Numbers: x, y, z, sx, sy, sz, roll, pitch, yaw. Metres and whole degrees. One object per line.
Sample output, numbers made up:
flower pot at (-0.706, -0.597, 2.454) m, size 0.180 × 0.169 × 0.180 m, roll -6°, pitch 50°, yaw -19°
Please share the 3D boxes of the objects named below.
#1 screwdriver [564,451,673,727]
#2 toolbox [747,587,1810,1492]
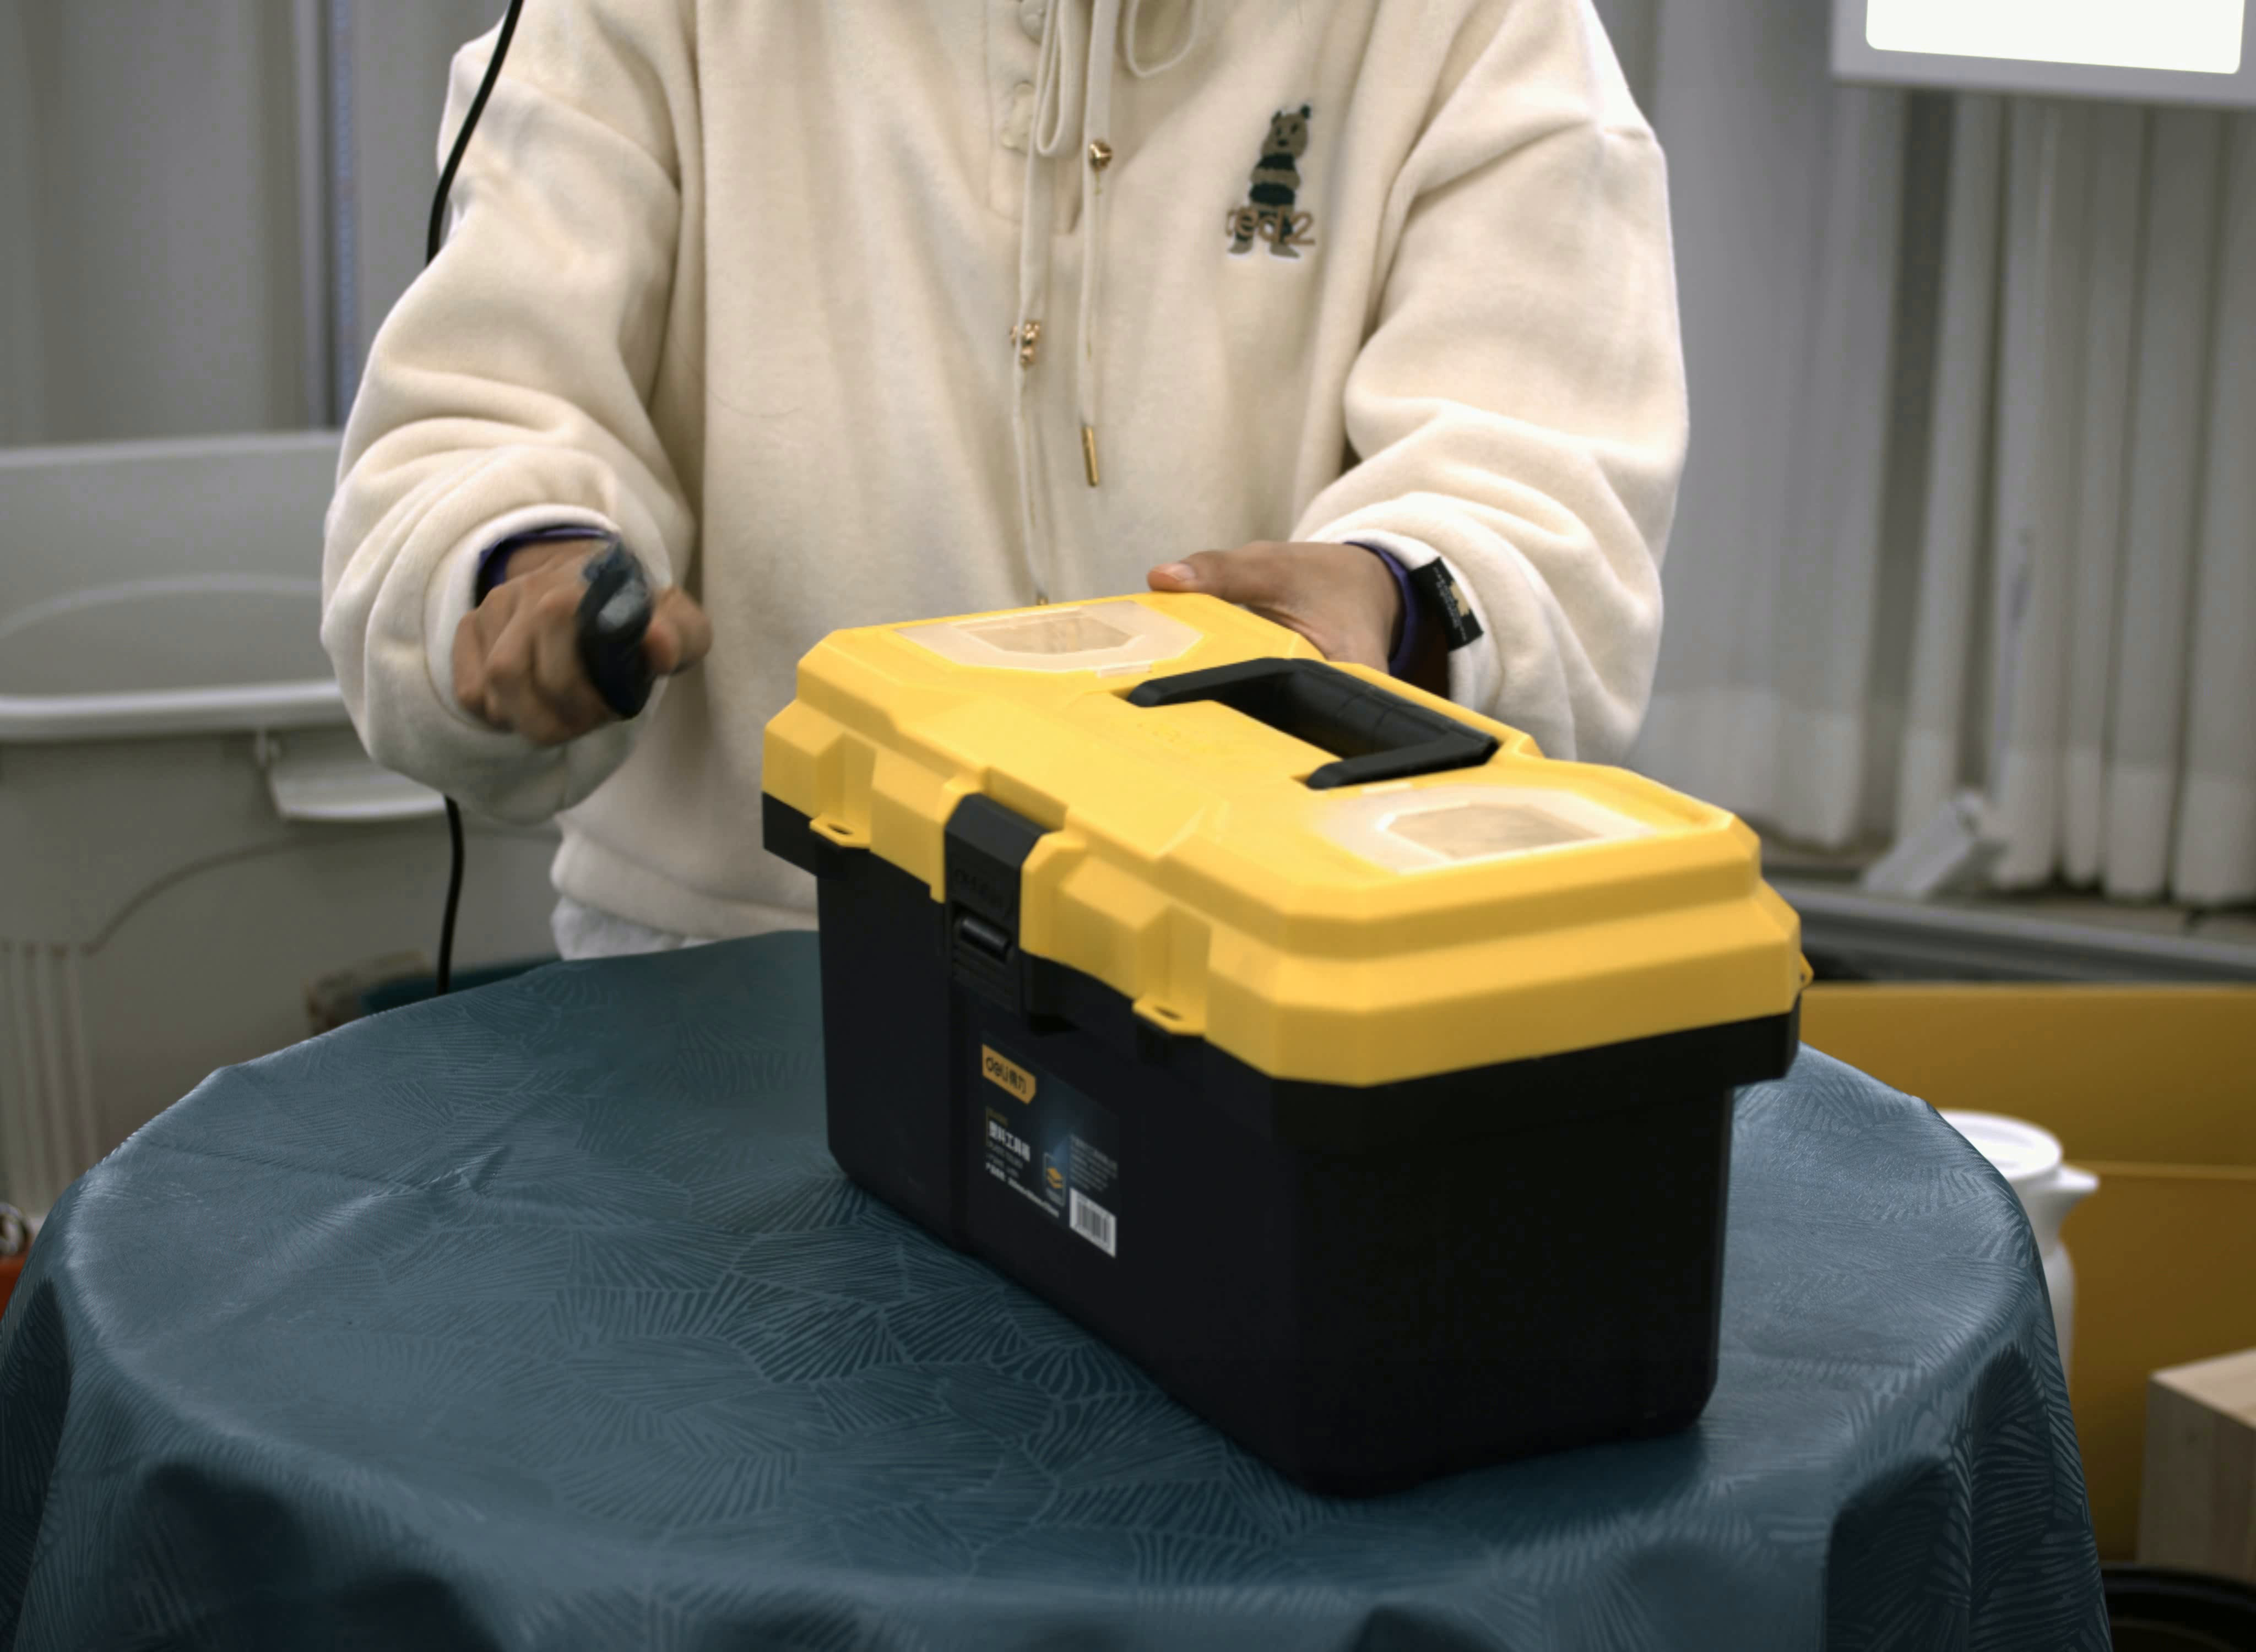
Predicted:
screwdriver at (-0.161, -0.078, 1.672) m, size 0.031 × 0.031 × 0.197 m, roll -2°, pitch -22°, yaw -10°
toolbox at (0.034, 0.052, 1.514) m, size 0.182 × 0.174 × 0.347 m, roll -8°, pitch 18°, yaw -27°
